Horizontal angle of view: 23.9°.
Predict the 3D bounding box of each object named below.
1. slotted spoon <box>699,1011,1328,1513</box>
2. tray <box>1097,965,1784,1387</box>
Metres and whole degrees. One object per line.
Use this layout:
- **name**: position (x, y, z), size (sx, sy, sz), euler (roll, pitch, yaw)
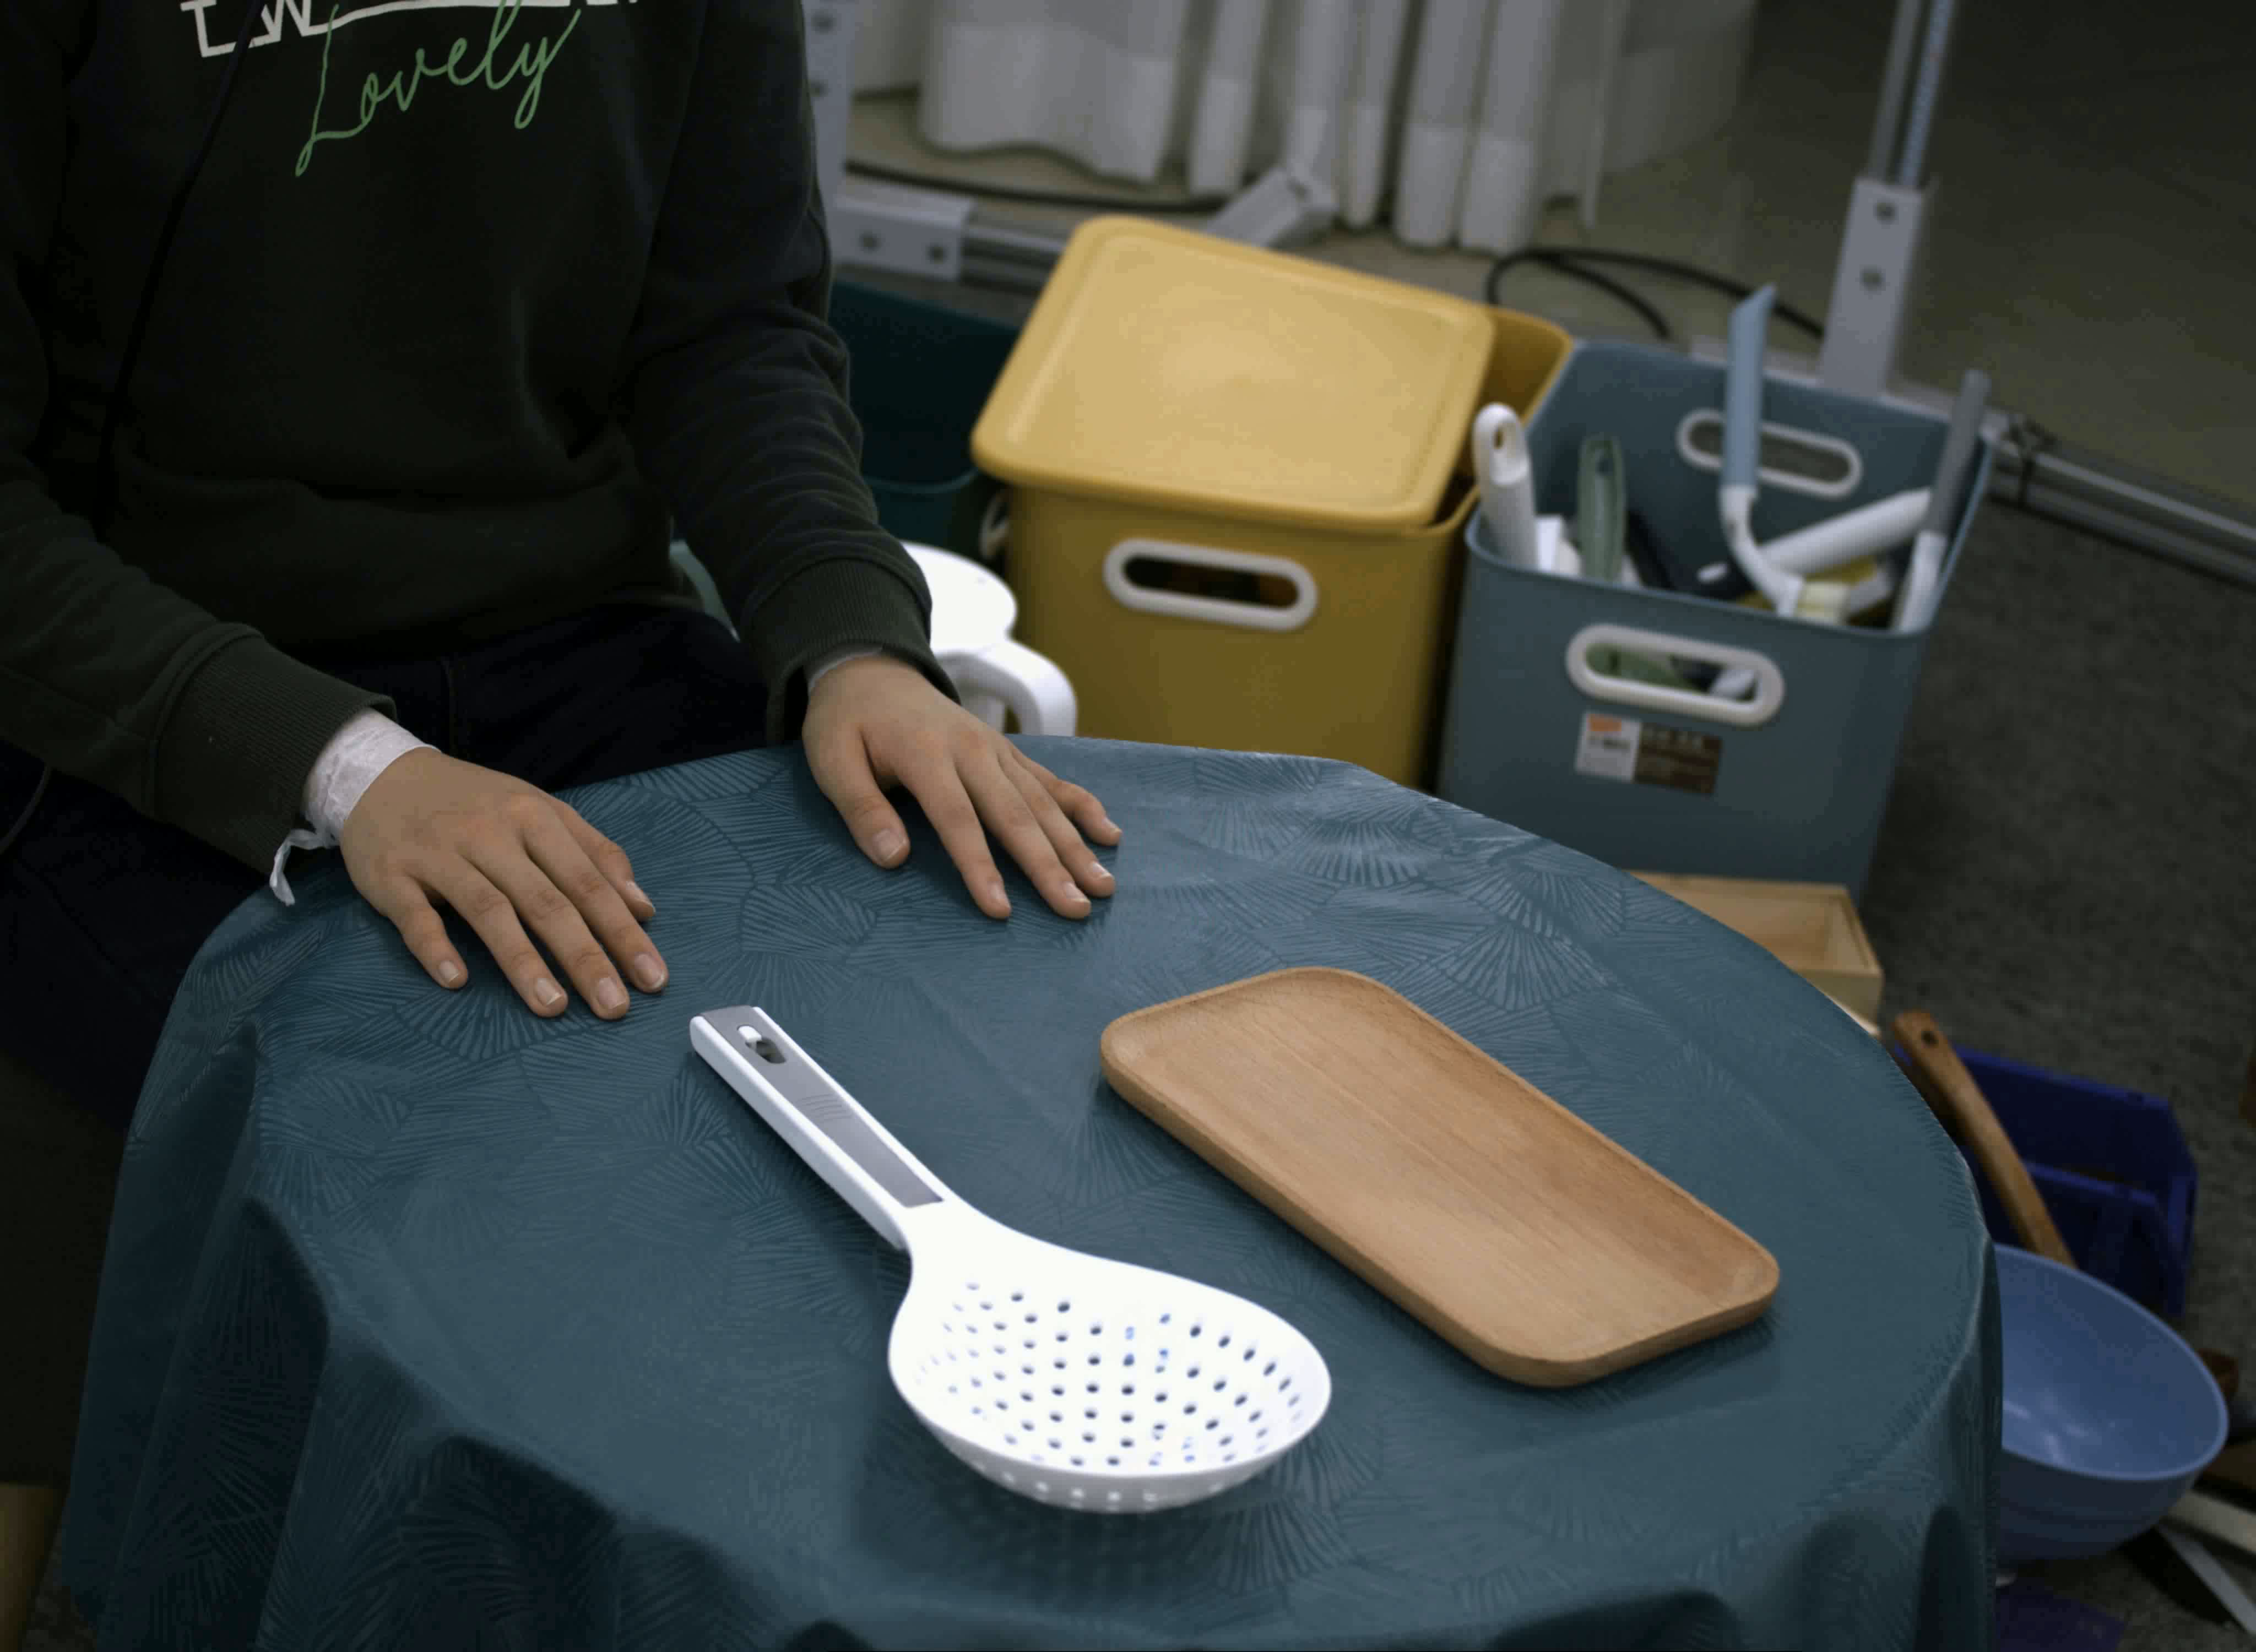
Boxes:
- **slotted spoon**: position (-0.058, 0.134, 1.717), size (0.135, 0.045, 0.353), euler (-6, 28, -28)
- **tray**: position (0.103, 0.117, 1.818), size (0.130, 0.023, 0.253), euler (-12, 31, -36)
